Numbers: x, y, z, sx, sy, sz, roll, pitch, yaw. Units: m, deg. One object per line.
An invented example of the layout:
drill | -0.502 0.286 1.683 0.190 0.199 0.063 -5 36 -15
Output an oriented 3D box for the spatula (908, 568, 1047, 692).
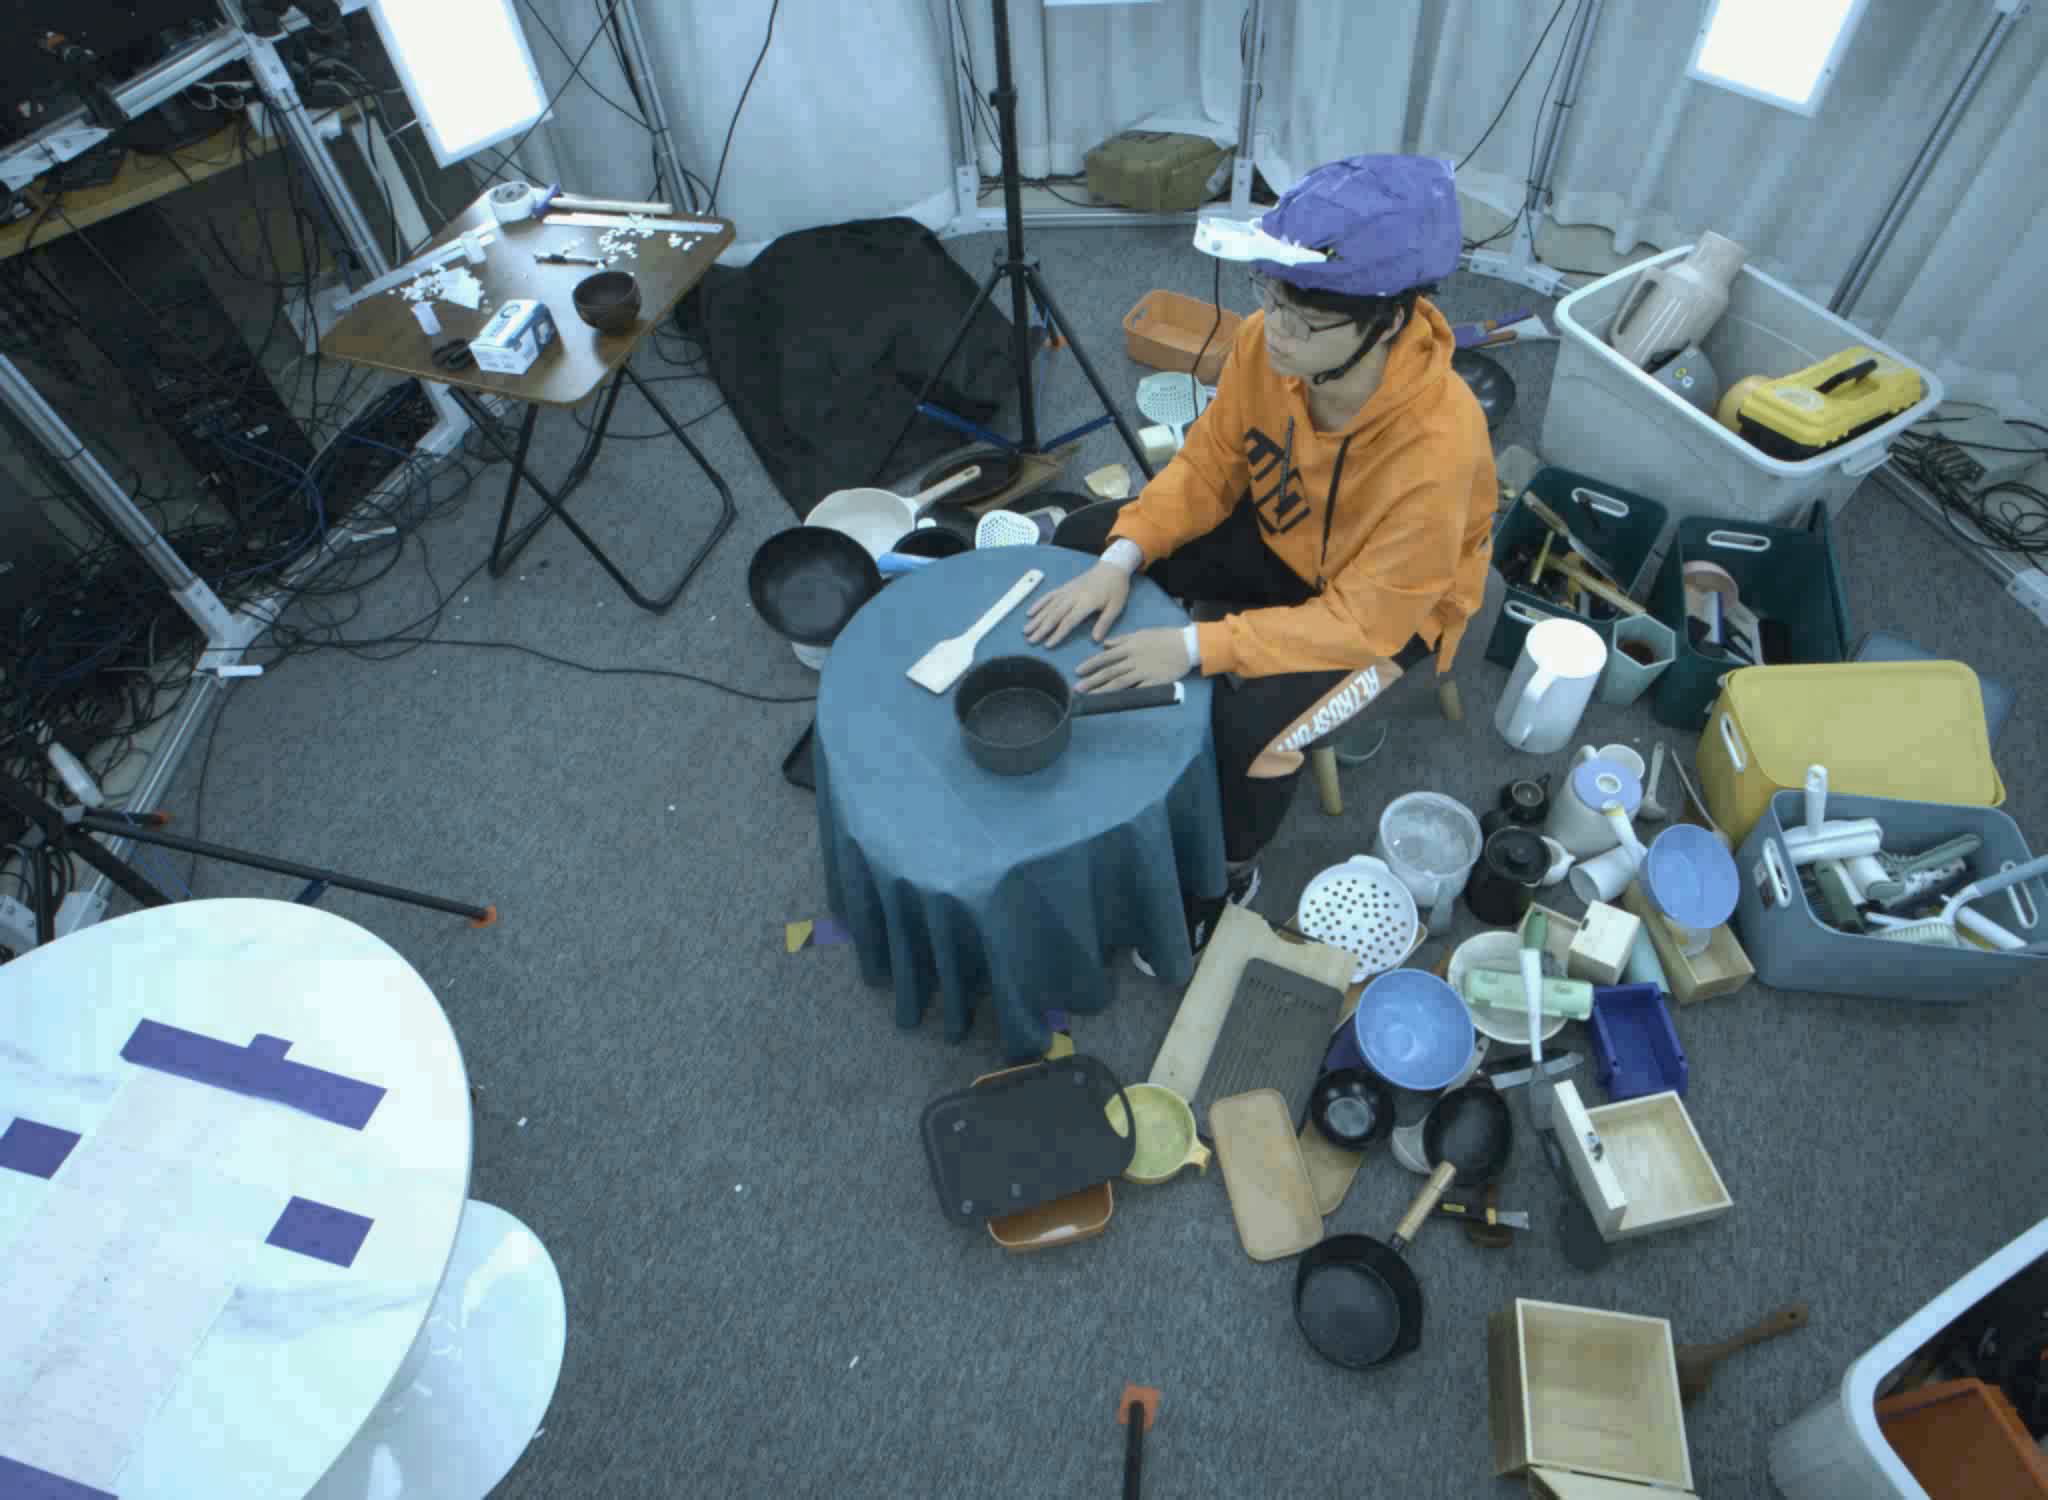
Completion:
spatula | -0.064 -0.196 1.922 0.071 0.011 0.294 31 61 25

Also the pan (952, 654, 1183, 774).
pan | 0.064 -0.053 1.770 0.328 0.087 0.170 0 55 4
